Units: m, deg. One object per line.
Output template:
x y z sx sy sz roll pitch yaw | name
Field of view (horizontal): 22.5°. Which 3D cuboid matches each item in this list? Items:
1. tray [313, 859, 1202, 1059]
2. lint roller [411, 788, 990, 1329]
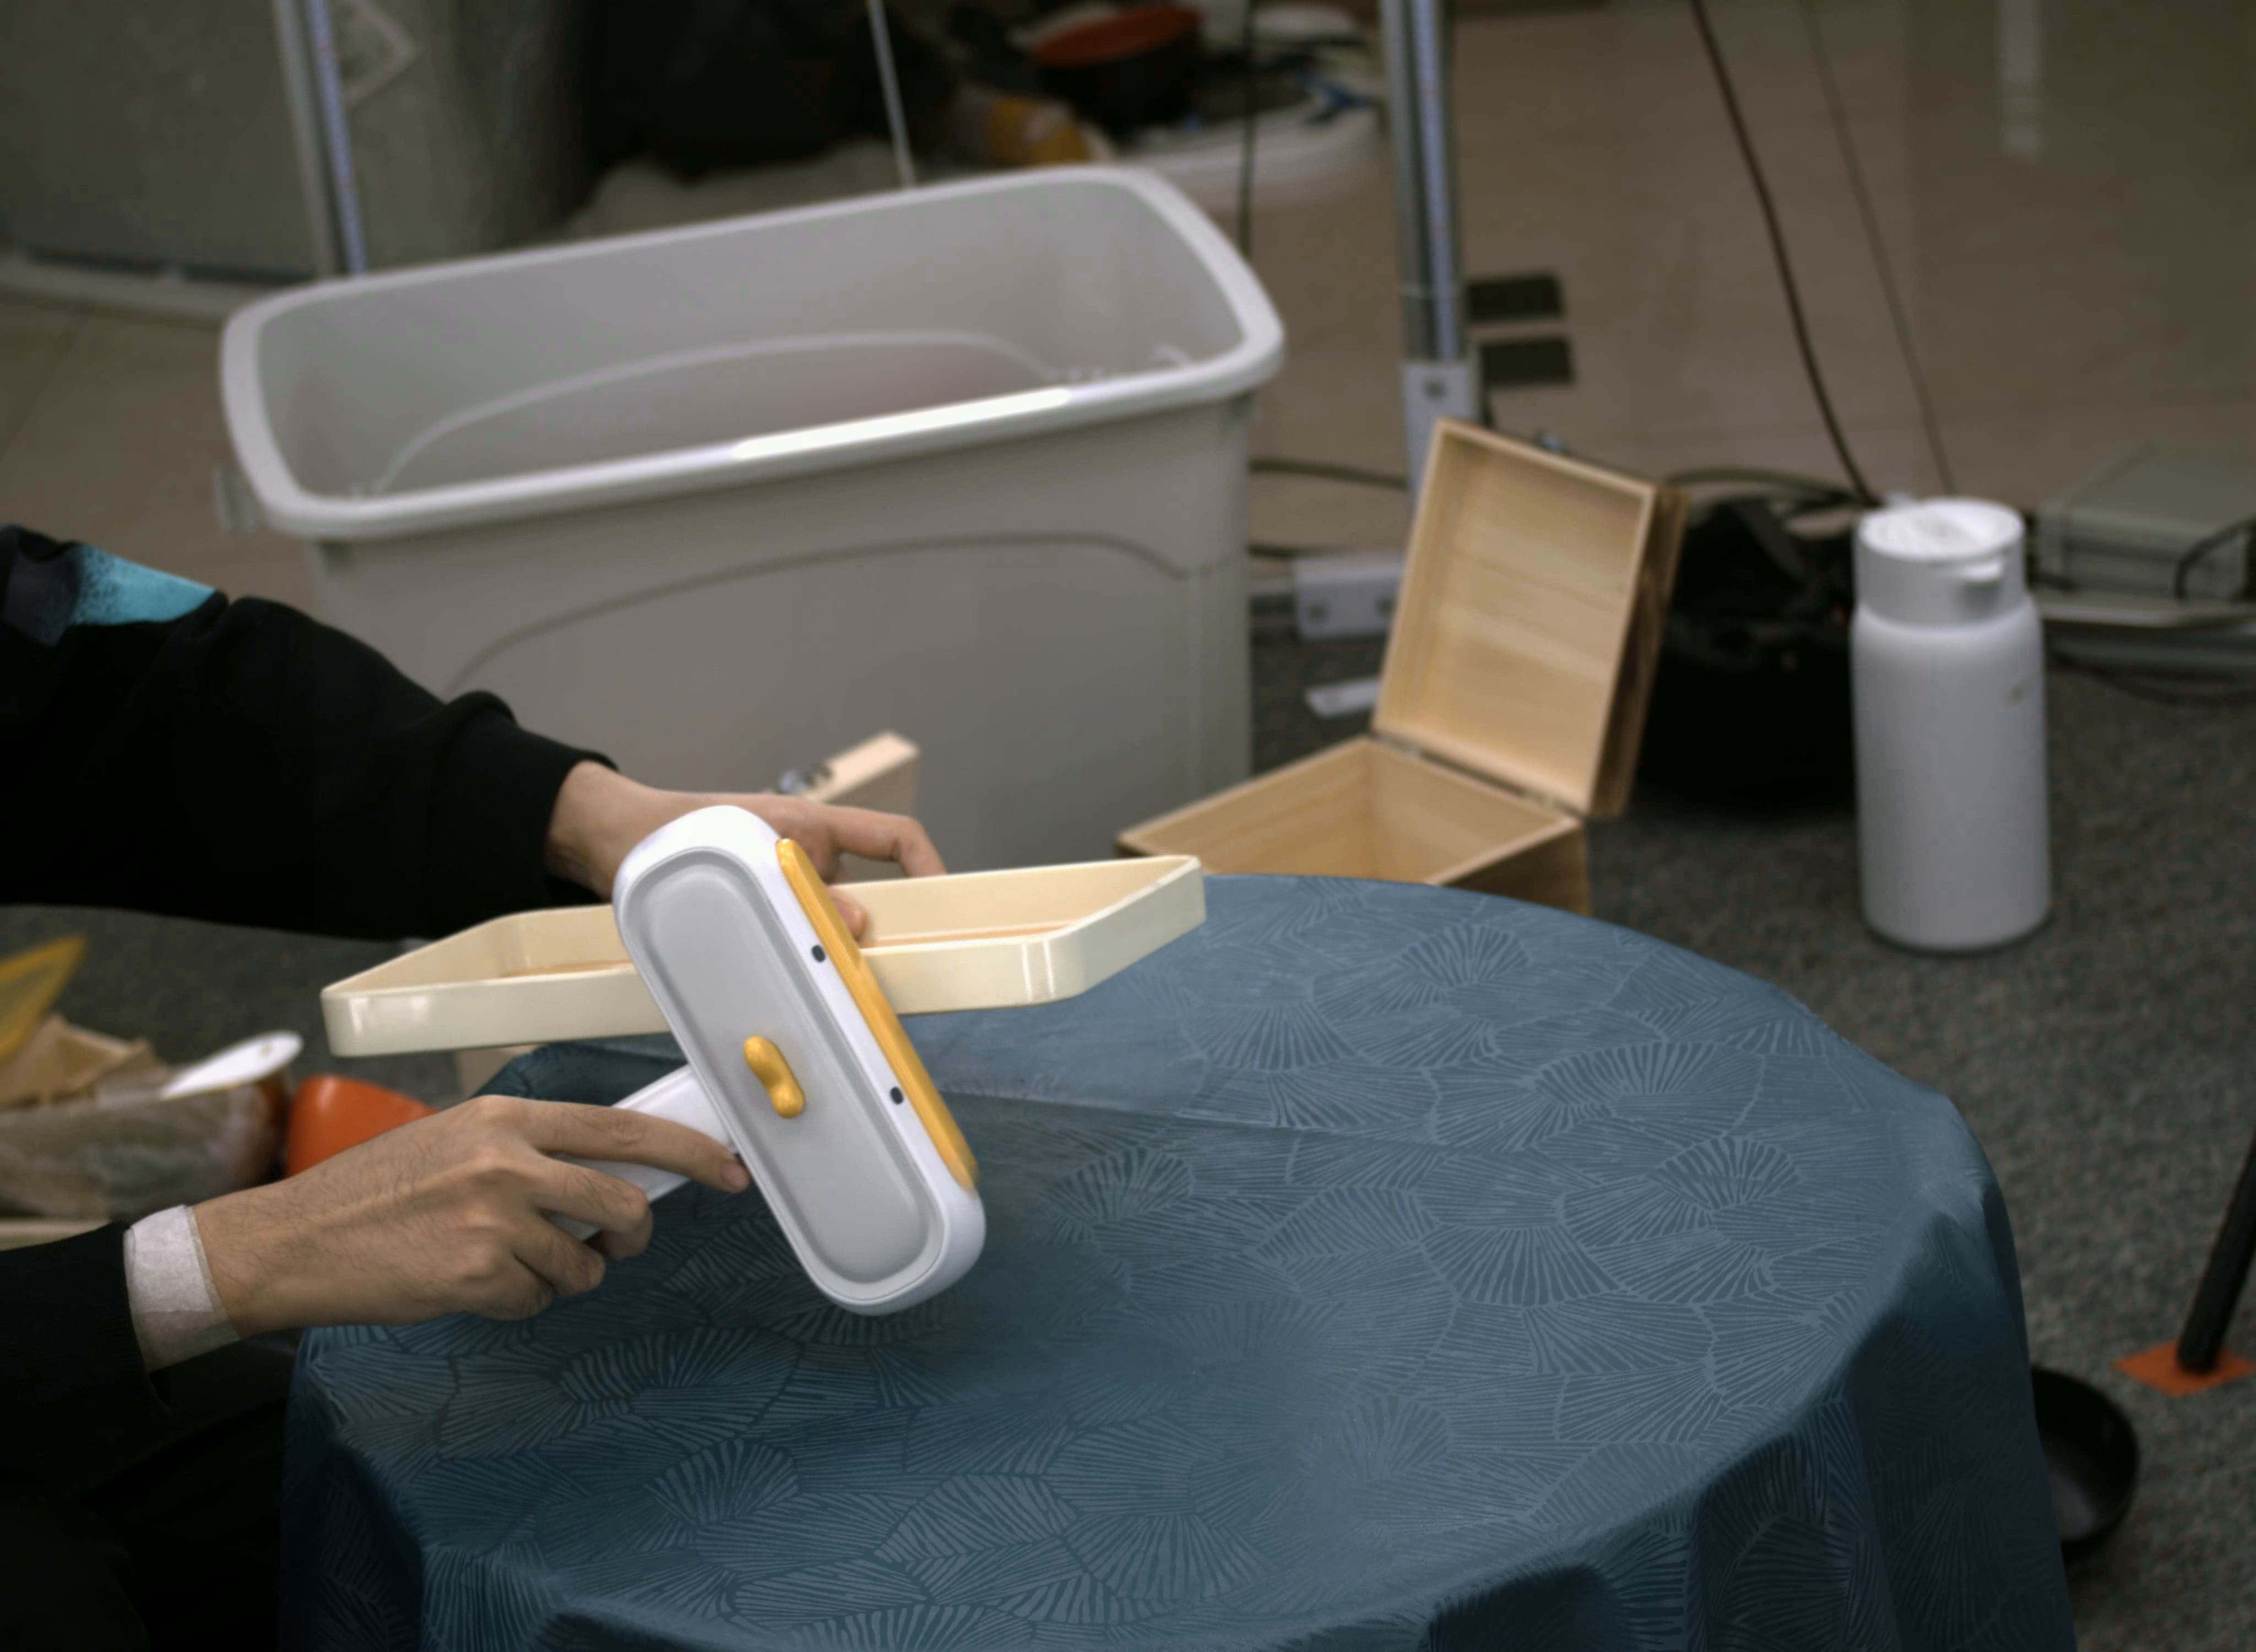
-0.137 0.050 2.136 0.300 0.027 0.190 -5 7 19 | tray
-0.168 0.110 2.006 0.192 0.194 0.074 -33 8 5 | lint roller
